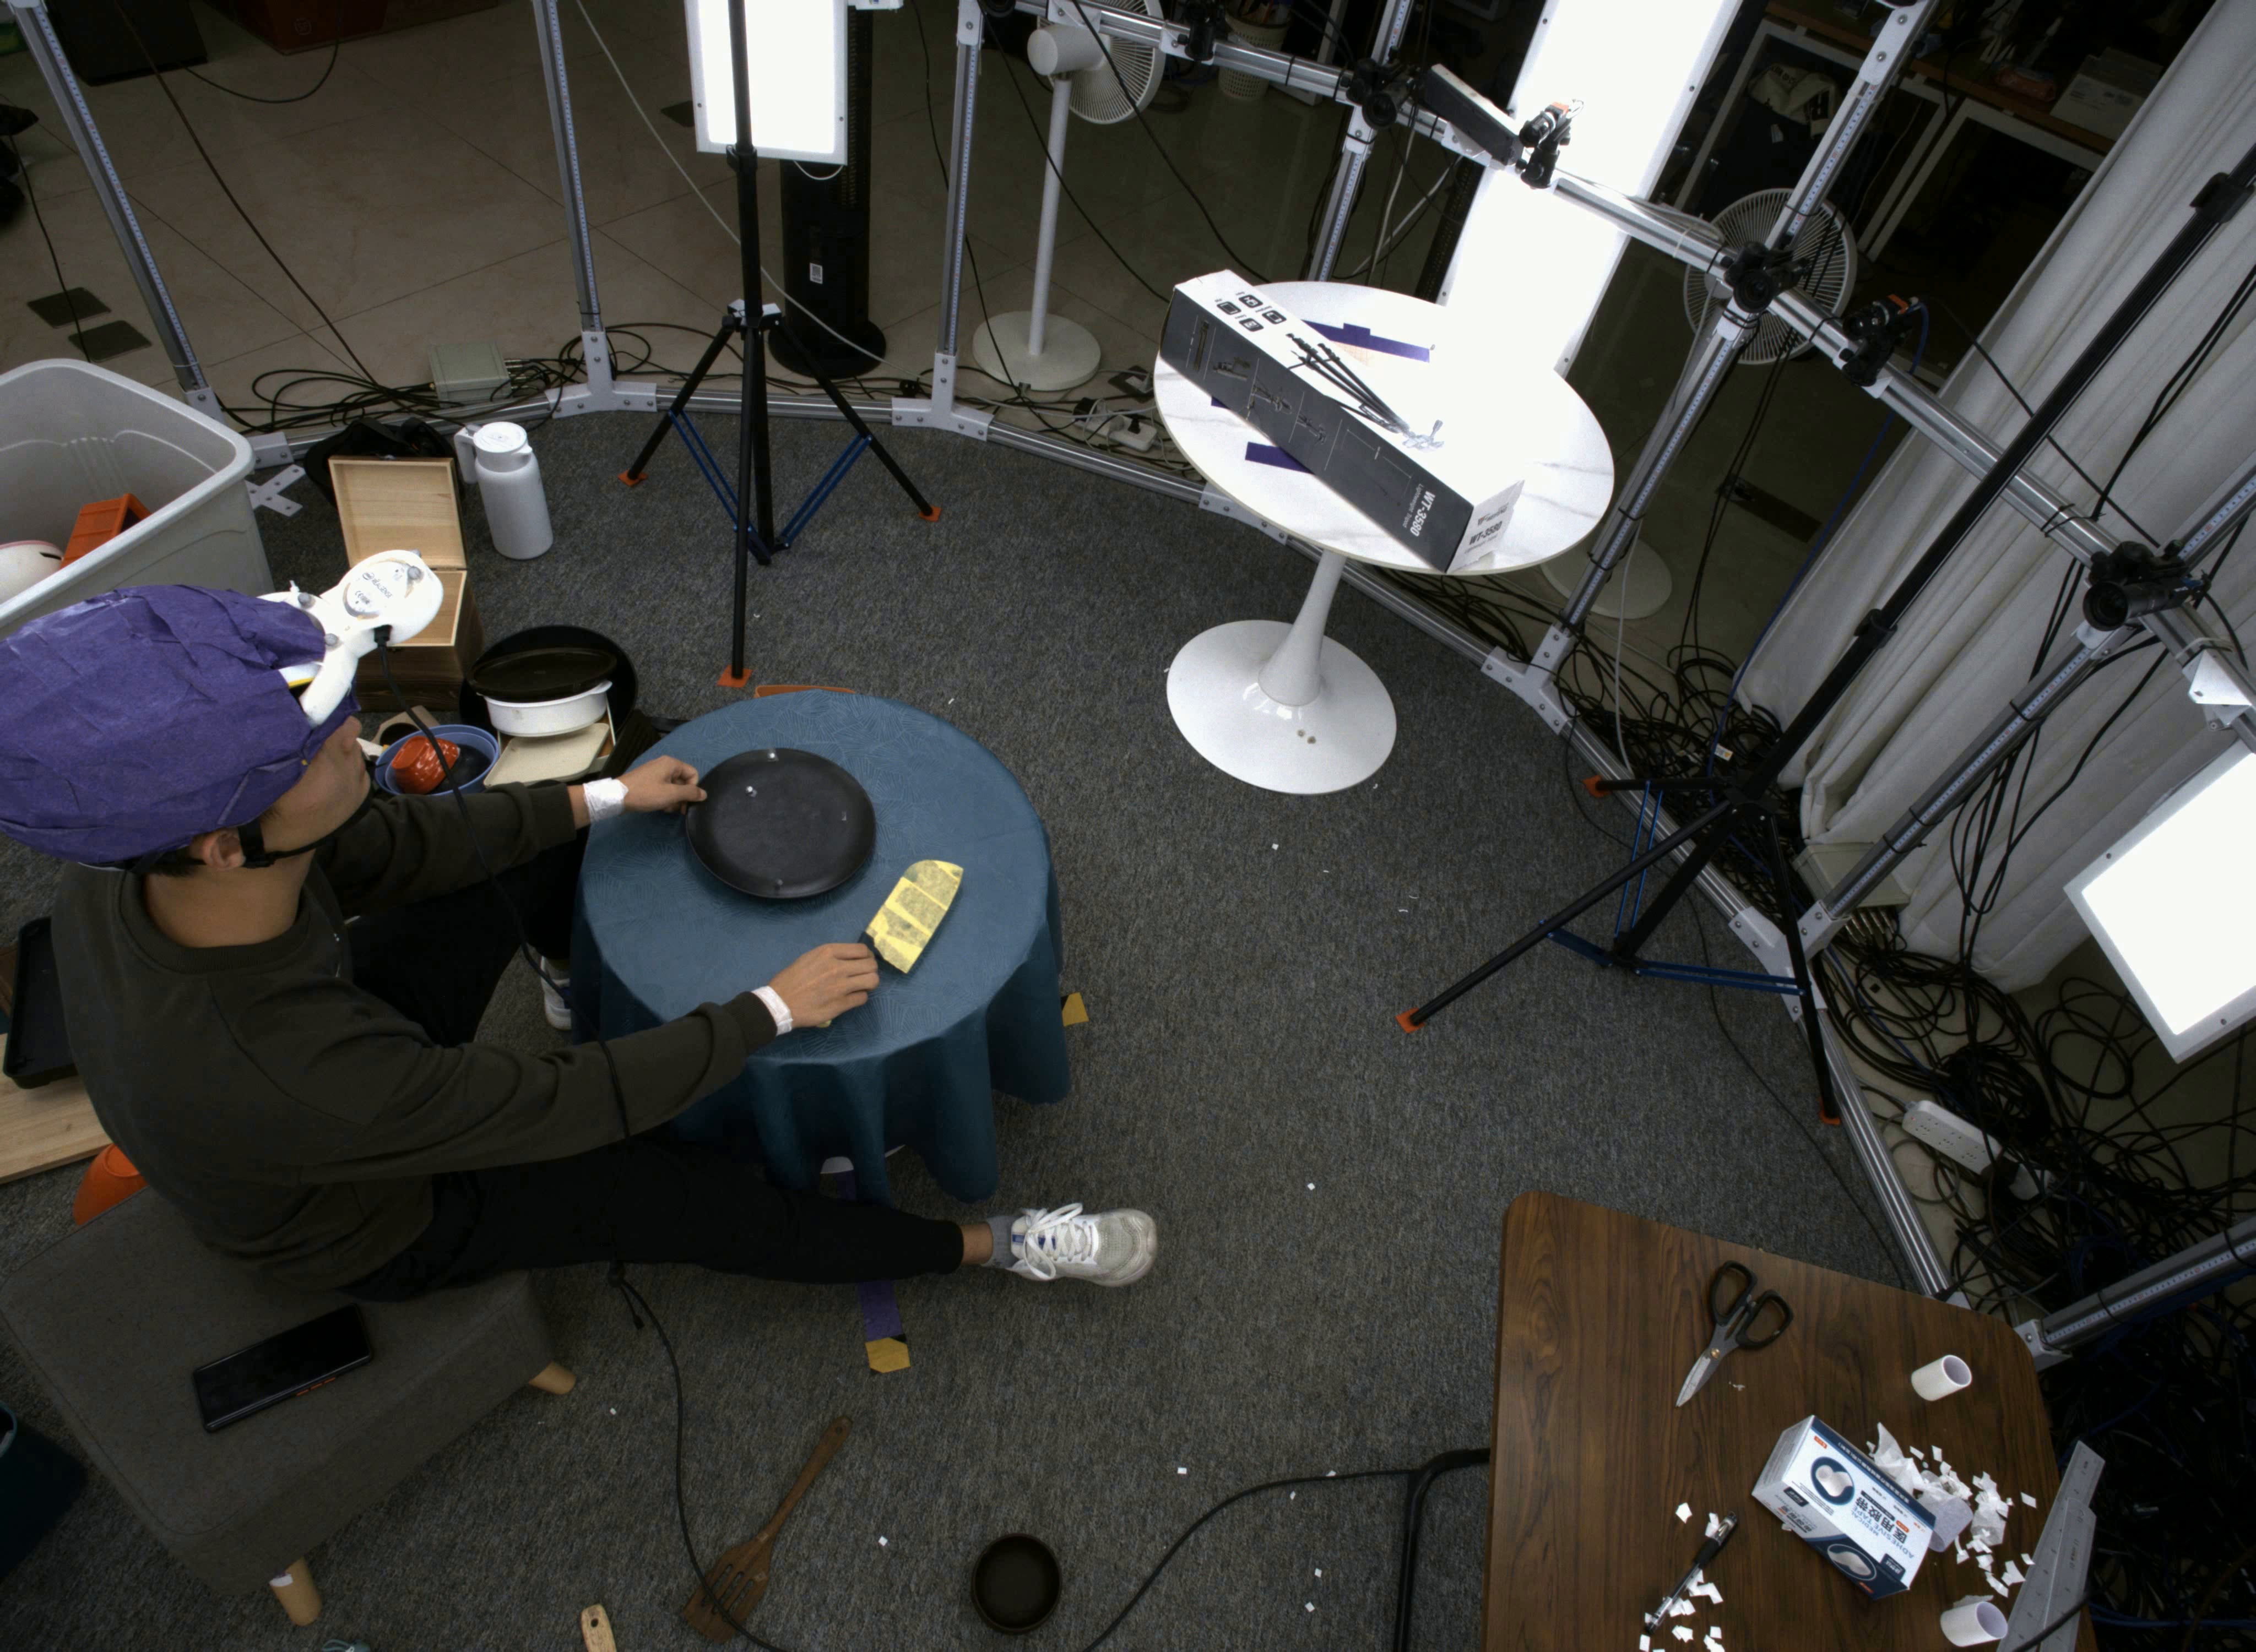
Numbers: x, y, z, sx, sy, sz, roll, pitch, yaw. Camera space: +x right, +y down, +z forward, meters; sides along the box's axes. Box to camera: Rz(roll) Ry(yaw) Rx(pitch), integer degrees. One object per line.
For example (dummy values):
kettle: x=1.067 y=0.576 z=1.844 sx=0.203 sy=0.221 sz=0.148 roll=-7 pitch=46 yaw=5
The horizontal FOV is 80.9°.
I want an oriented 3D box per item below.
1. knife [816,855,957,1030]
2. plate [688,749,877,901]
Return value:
knife: x=-0.296 y=0.141 z=1.623 sx=0.082 sy=0.027 sz=0.288 roll=39 pitch=55 yaw=-10
plate: x=-0.452 y=-0.002 z=1.702 sx=0.245 sy=0.024 sz=0.240 roll=12 pitch=52 yaw=-13
